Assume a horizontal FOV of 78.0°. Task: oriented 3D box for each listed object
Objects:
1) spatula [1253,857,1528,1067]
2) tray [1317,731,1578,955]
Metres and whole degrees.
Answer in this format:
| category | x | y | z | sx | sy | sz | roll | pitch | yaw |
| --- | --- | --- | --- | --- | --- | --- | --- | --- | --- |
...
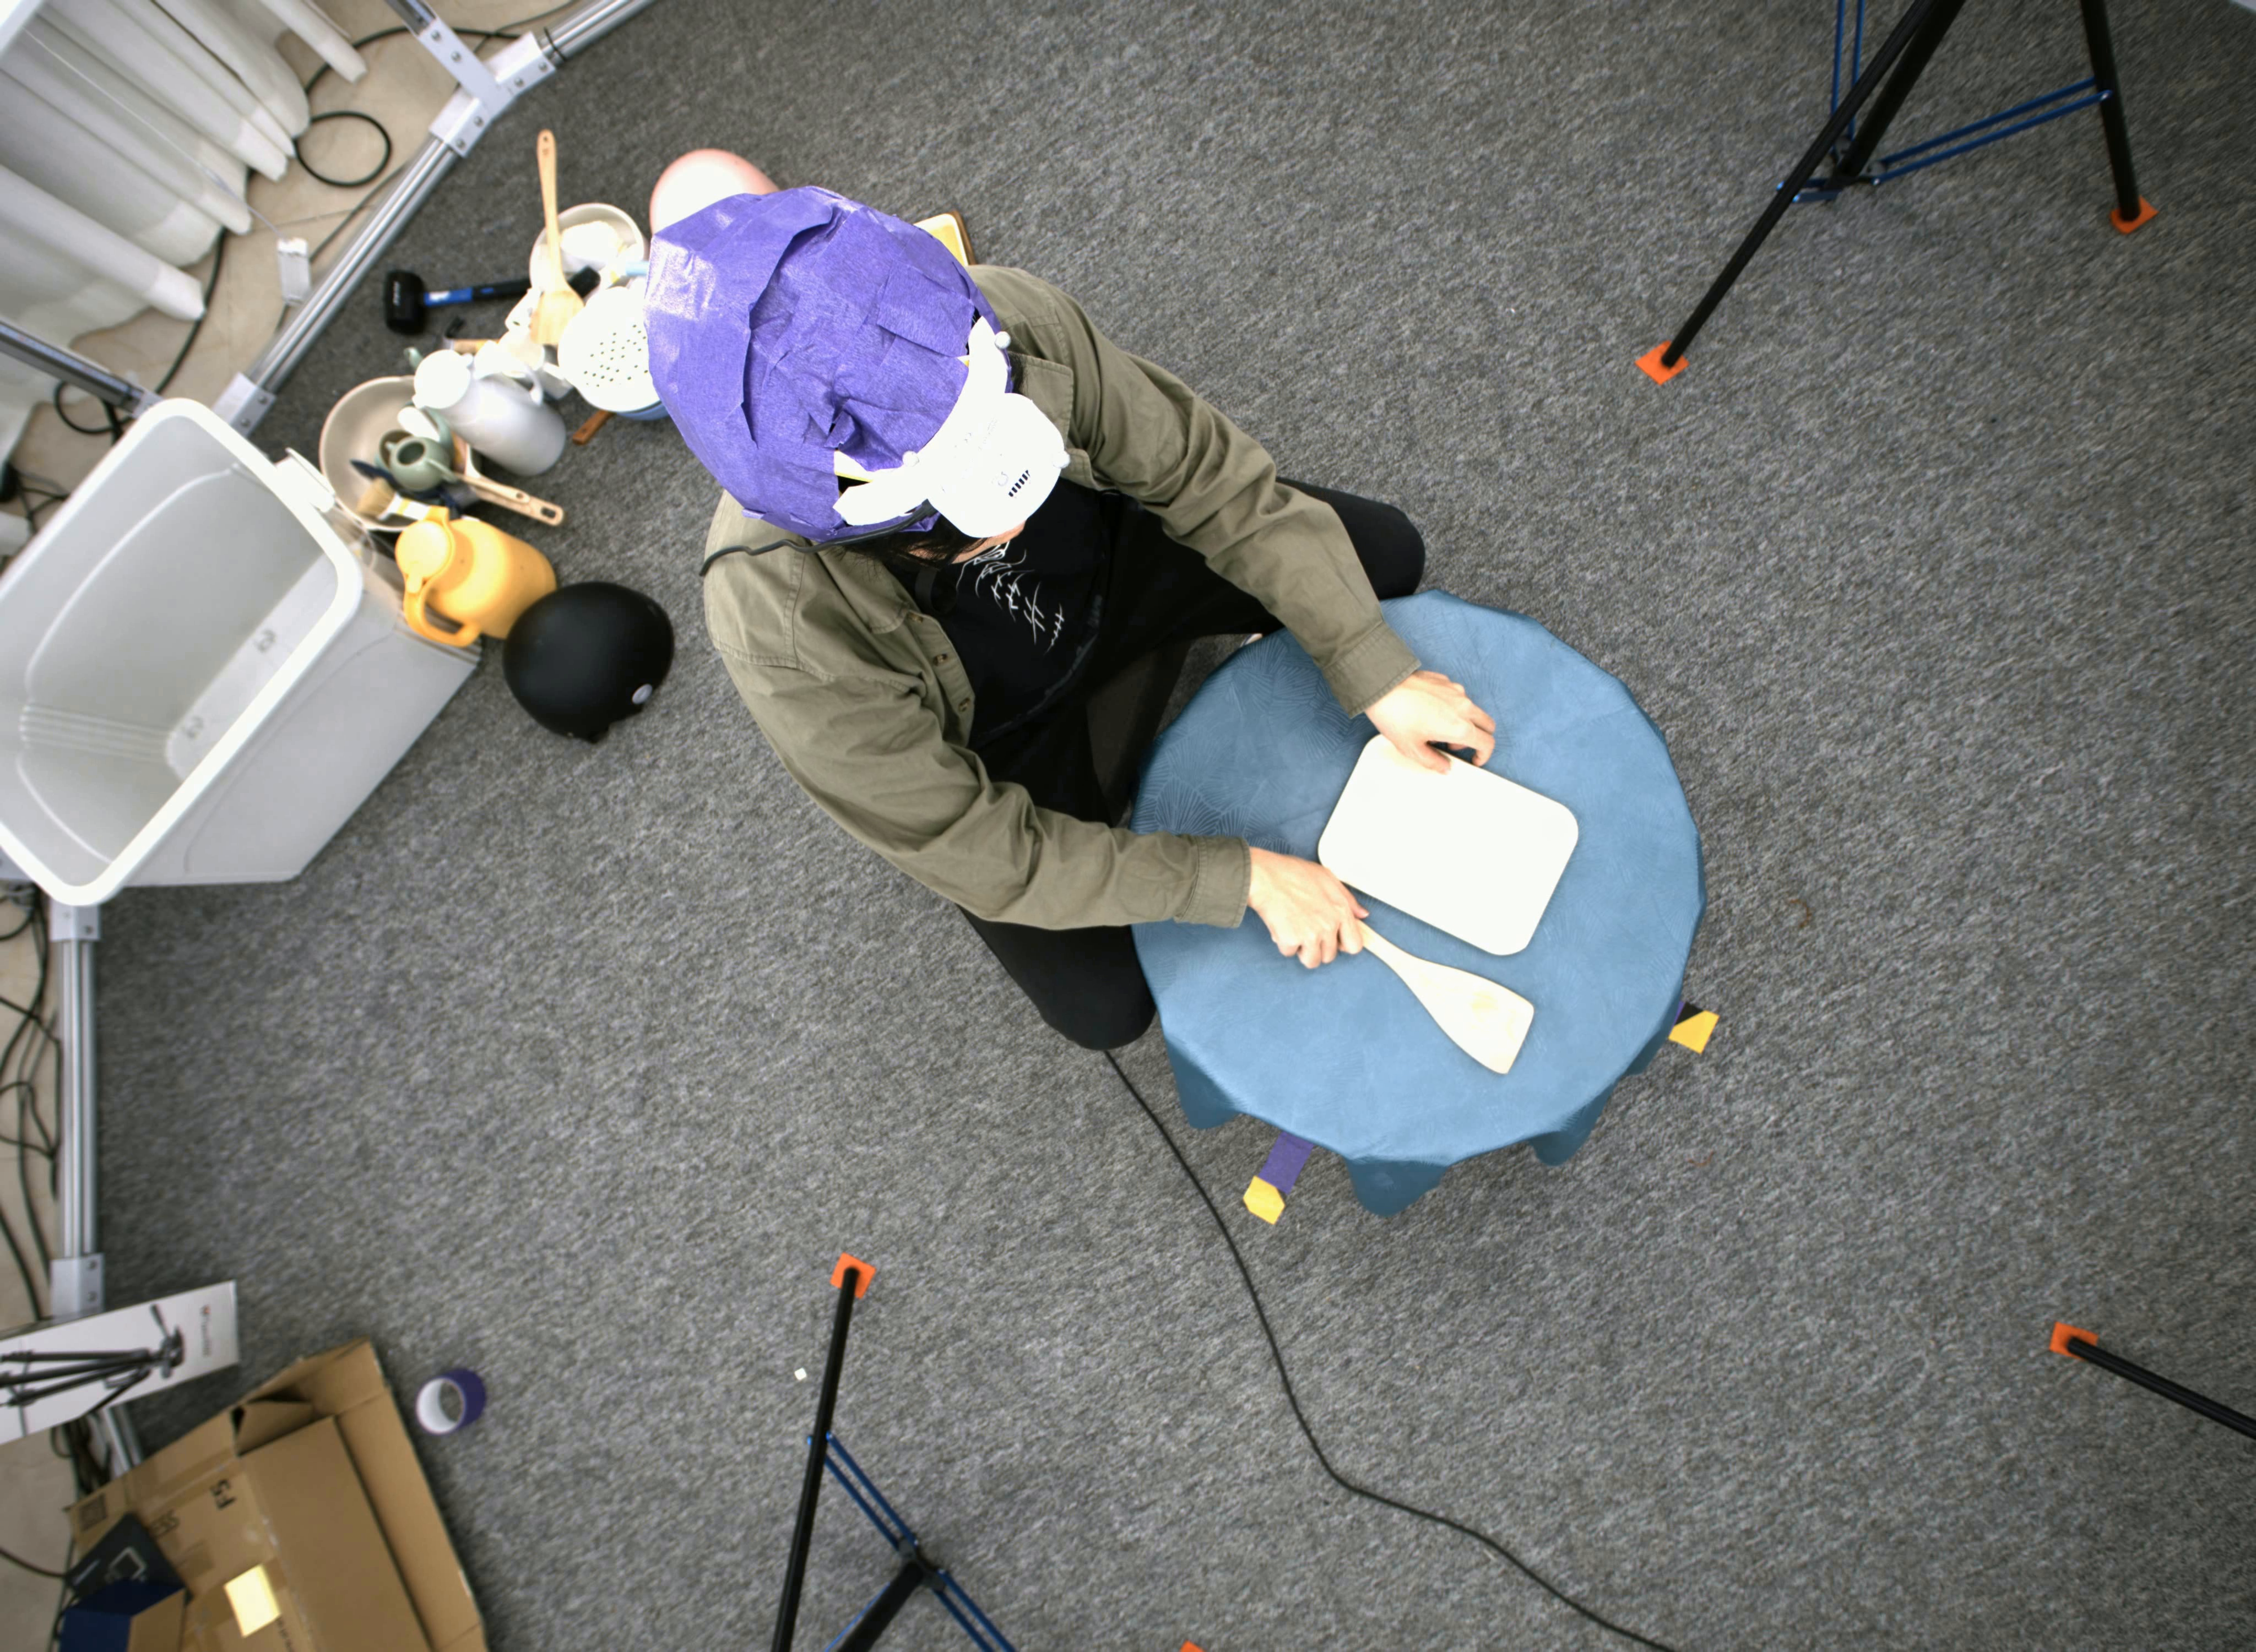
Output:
| category | x | y | z | sx | sy | sz | roll | pitch | yaw |
| --- | --- | --- | --- | --- | --- | --- | --- | --- | --- |
| spatula | 0.268 | 0.127 | 1.438 | 0.327 | 0.016 | 0.080 | 34 | 93 | 9 |
| tray | 0.331 | 0.015 | 1.431 | 0.239 | 0.017 | 0.171 | 26 | 92 | 10 |
